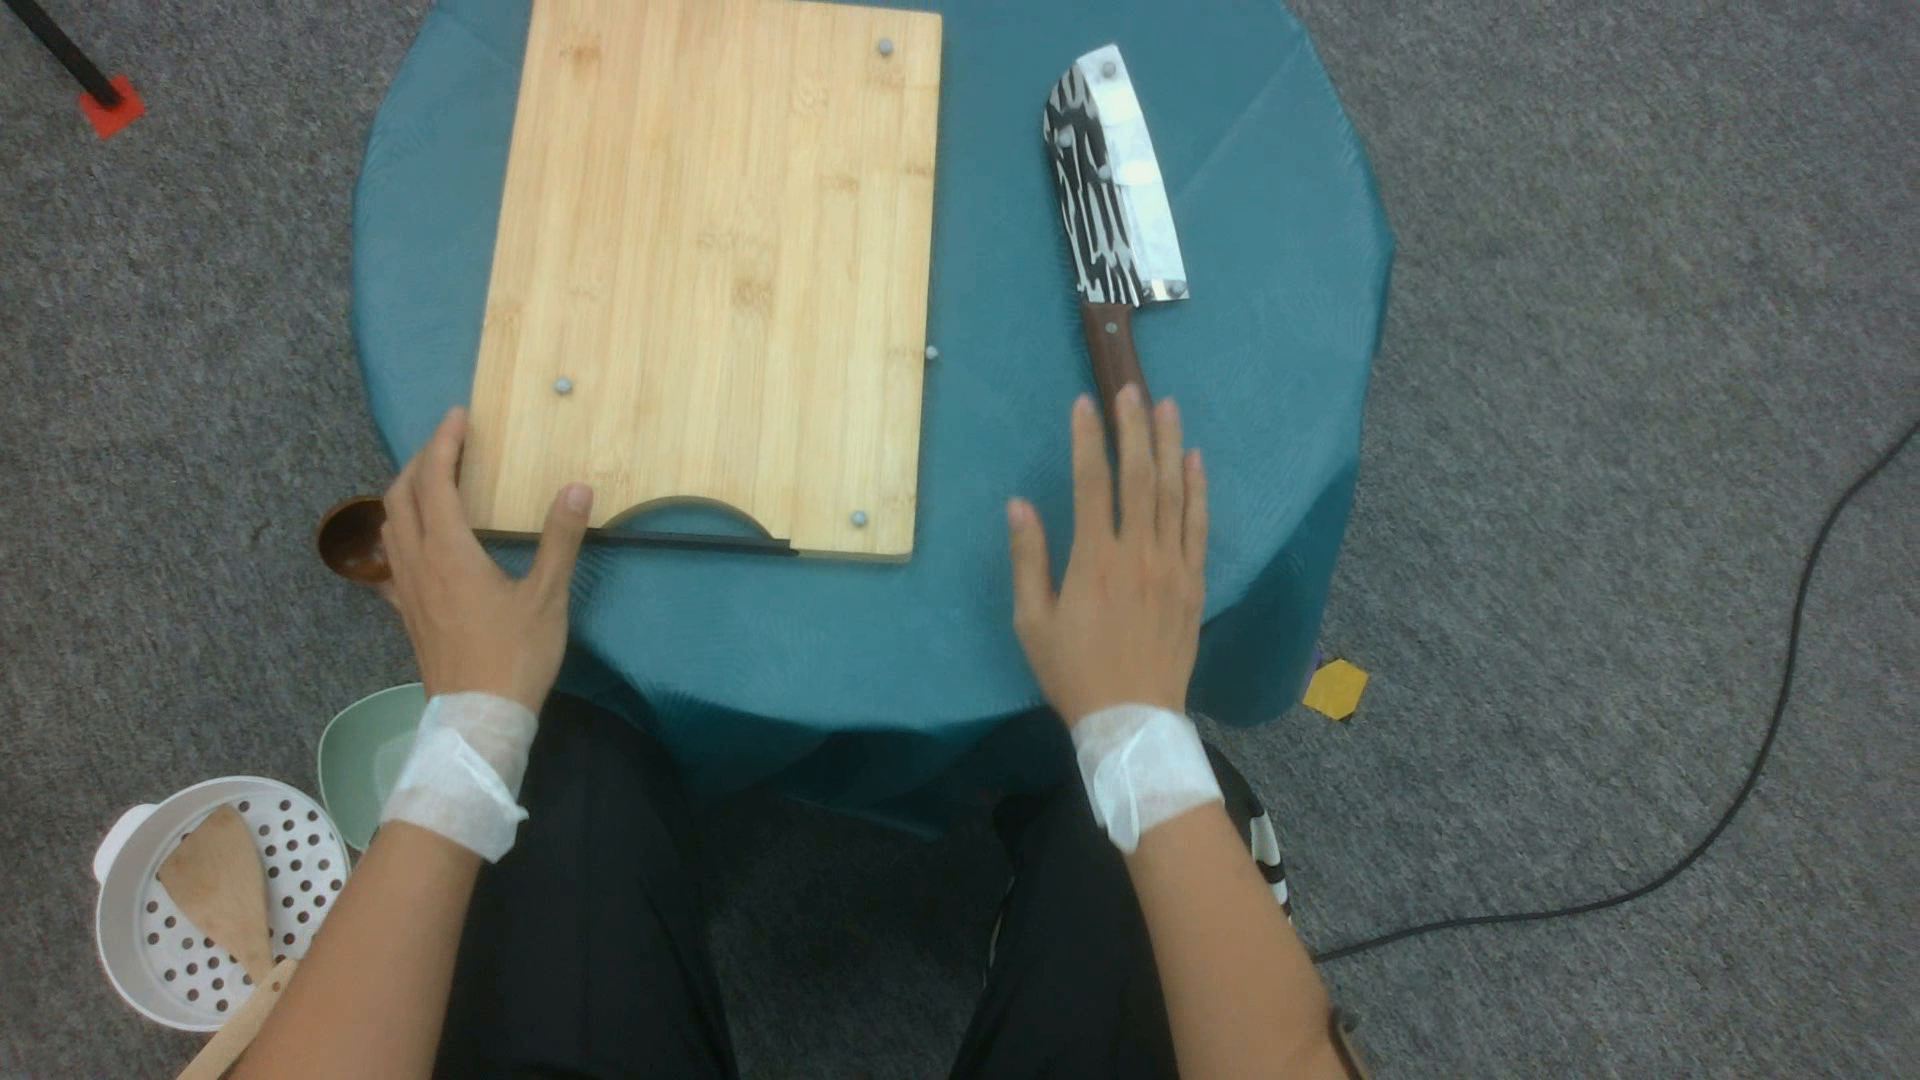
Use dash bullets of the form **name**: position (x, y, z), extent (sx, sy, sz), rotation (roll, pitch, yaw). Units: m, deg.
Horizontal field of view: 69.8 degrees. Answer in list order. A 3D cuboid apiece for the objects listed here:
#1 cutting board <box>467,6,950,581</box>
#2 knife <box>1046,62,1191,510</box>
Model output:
- **cutting board**: position (-0.136, -0.151, 0.799), extent (0.251, 0.023, 0.349), rotation (2, 73, -3)
- **knife**: position (0.100, -0.160, 0.818), extent (0.068, 0.024, 0.300), rotation (-6, 70, -8)
